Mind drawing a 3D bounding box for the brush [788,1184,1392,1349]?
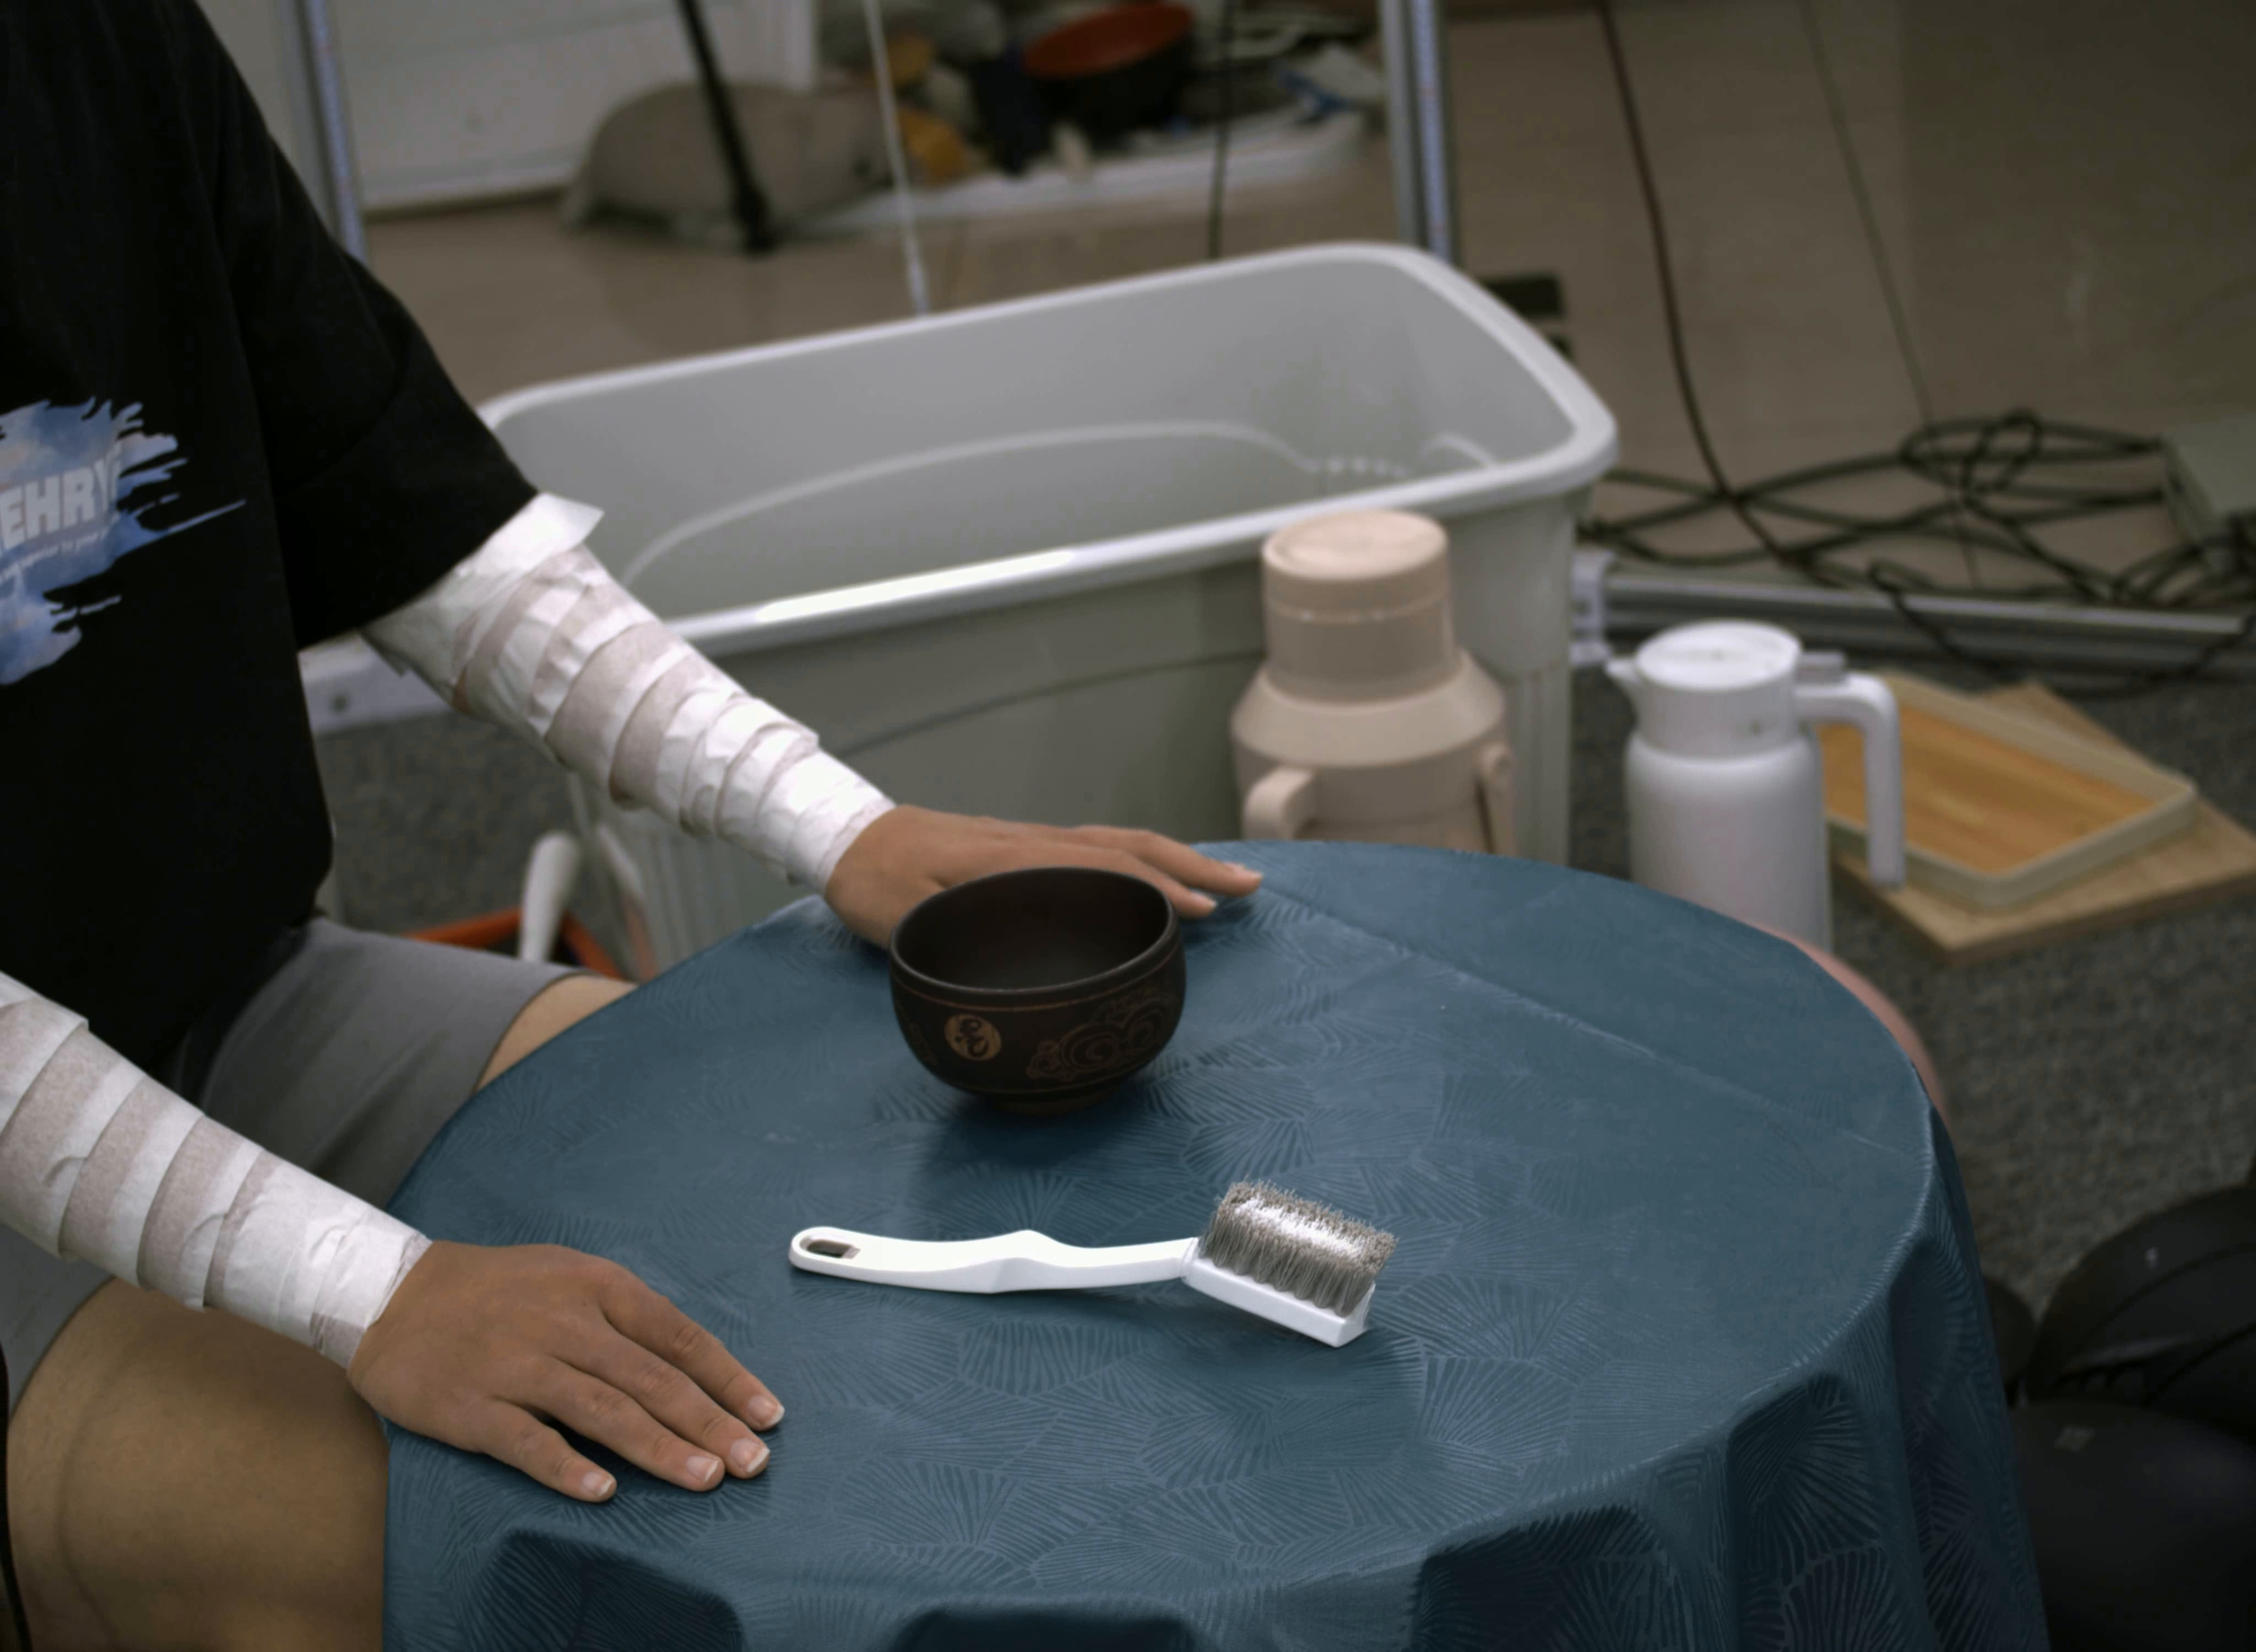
[{"bbox_3d":[-0.018,0.148,2.070,0.243,0.051,0.034,7,29,26],"label":"brush"}]

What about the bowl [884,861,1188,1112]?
[{"bbox_3d":[-0.033,0.069,2.220,0.118,0.071,0.116,-7,25,4],"label":"bowl"}]
